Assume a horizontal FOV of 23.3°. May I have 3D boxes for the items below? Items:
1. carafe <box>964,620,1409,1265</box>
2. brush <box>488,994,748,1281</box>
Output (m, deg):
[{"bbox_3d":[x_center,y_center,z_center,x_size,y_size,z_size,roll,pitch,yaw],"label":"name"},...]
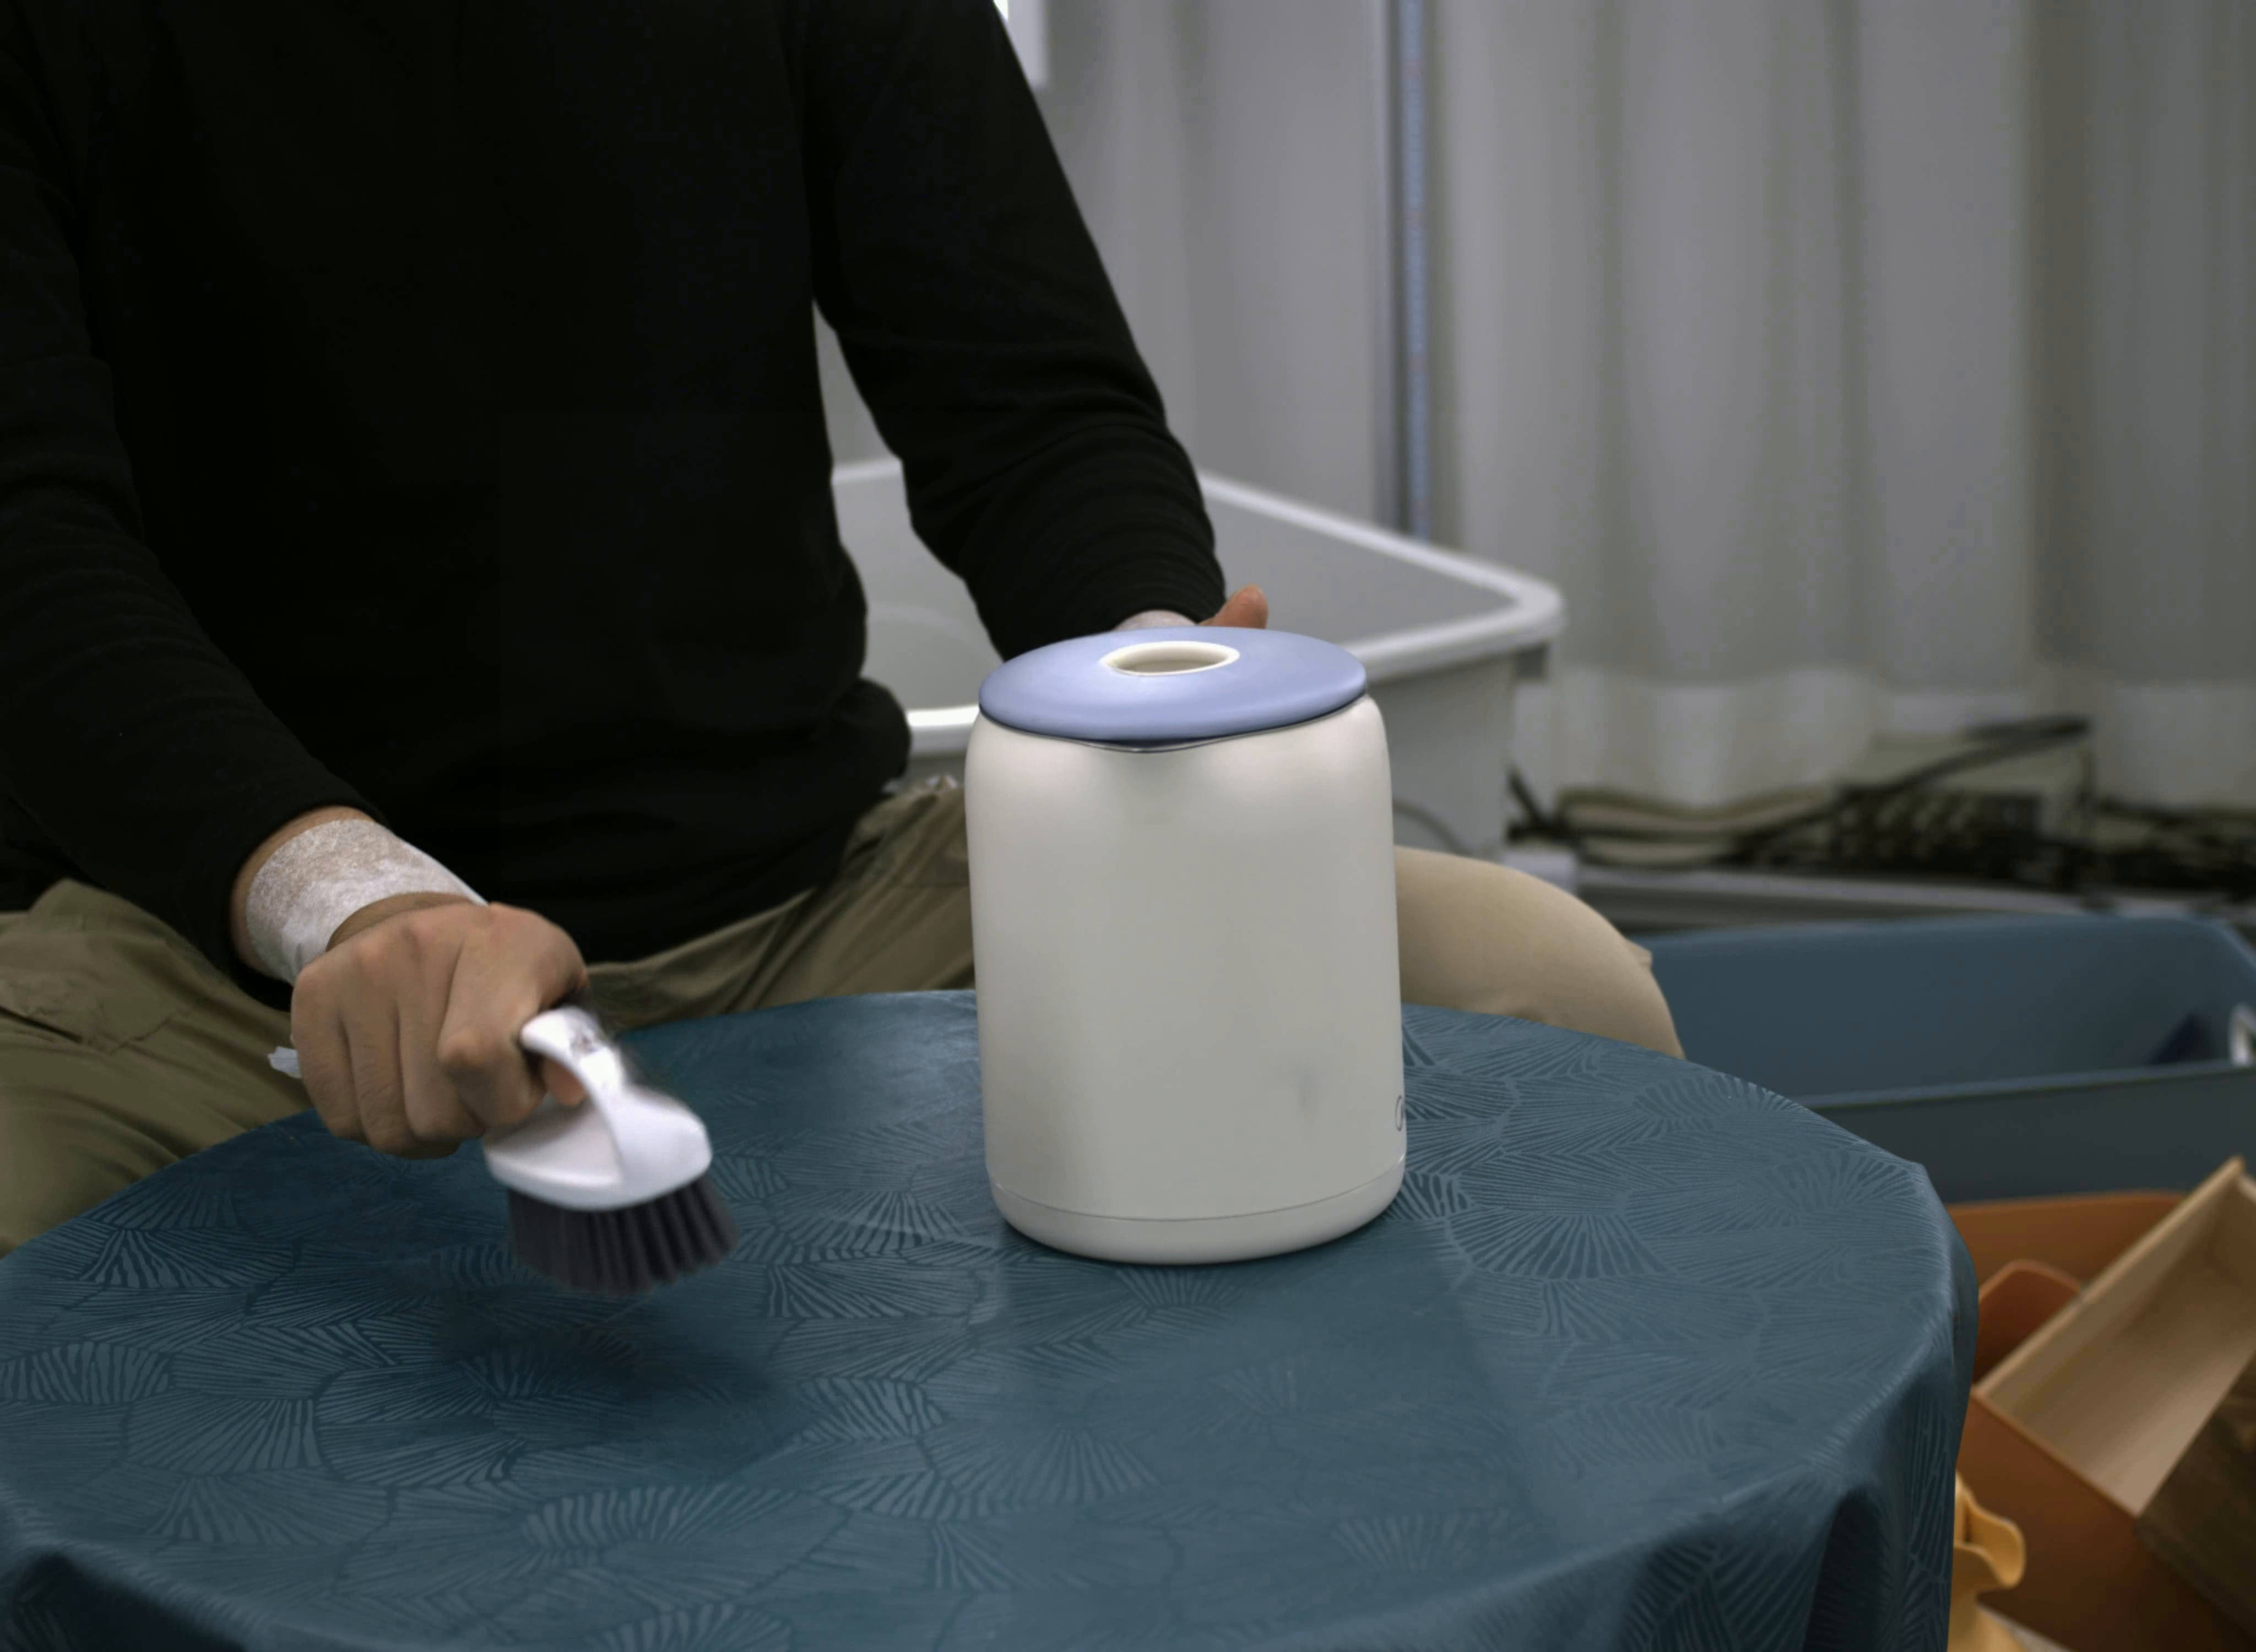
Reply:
[{"bbox_3d":[0.021,0.028,1.703,0.132,0.182,0.192,-1,13,6],"label":"carafe"},{"bbox_3d":[-0.154,0.084,1.574,0.050,0.072,0.100,-25,16,-24],"label":"brush"}]
